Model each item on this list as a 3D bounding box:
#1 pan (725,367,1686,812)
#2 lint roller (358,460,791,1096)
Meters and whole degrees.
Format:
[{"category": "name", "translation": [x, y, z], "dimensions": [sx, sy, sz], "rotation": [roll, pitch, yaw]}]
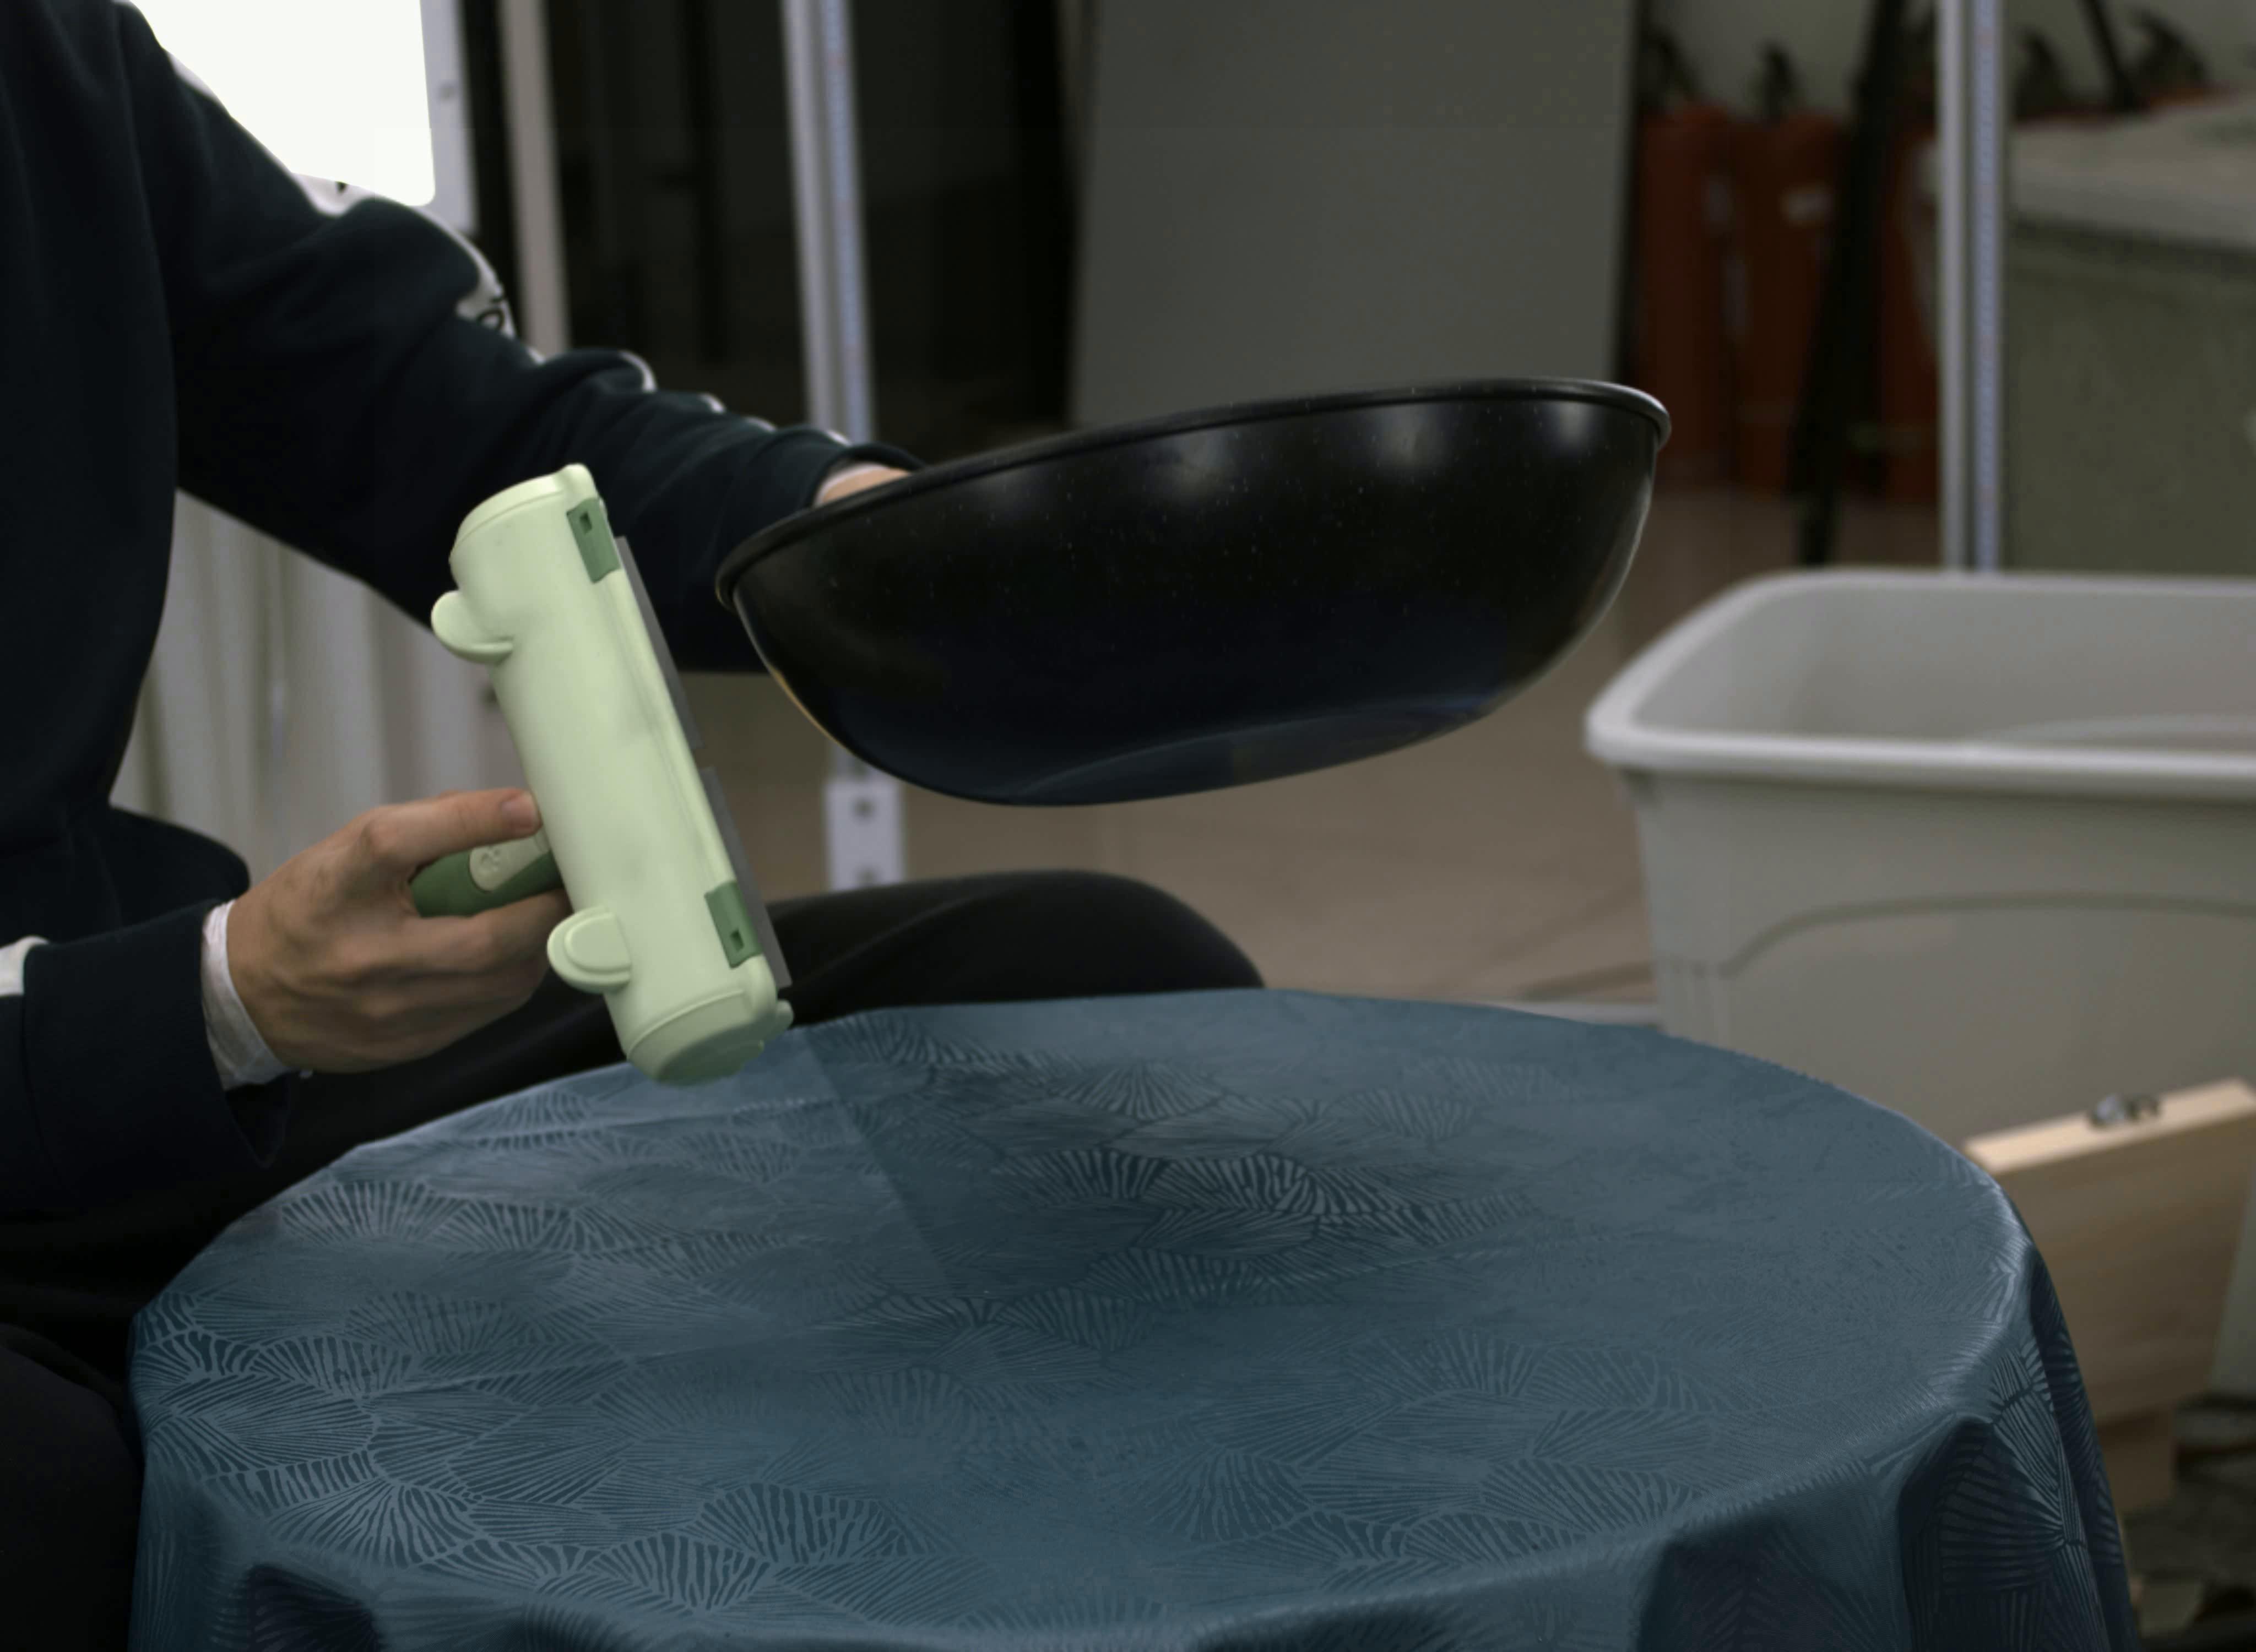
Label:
[{"category": "pan", "translation": [0.005, -0.060, 1.778], "dimensions": [0.304, 0.113, 0.480], "rotation": [-6, -8, -17]}, {"category": "lint roller", "translation": [-0.202, 0.012, 1.714], "dimensions": [0.184, 0.201, 0.080], "rotation": [-33, -22, 32]}]
